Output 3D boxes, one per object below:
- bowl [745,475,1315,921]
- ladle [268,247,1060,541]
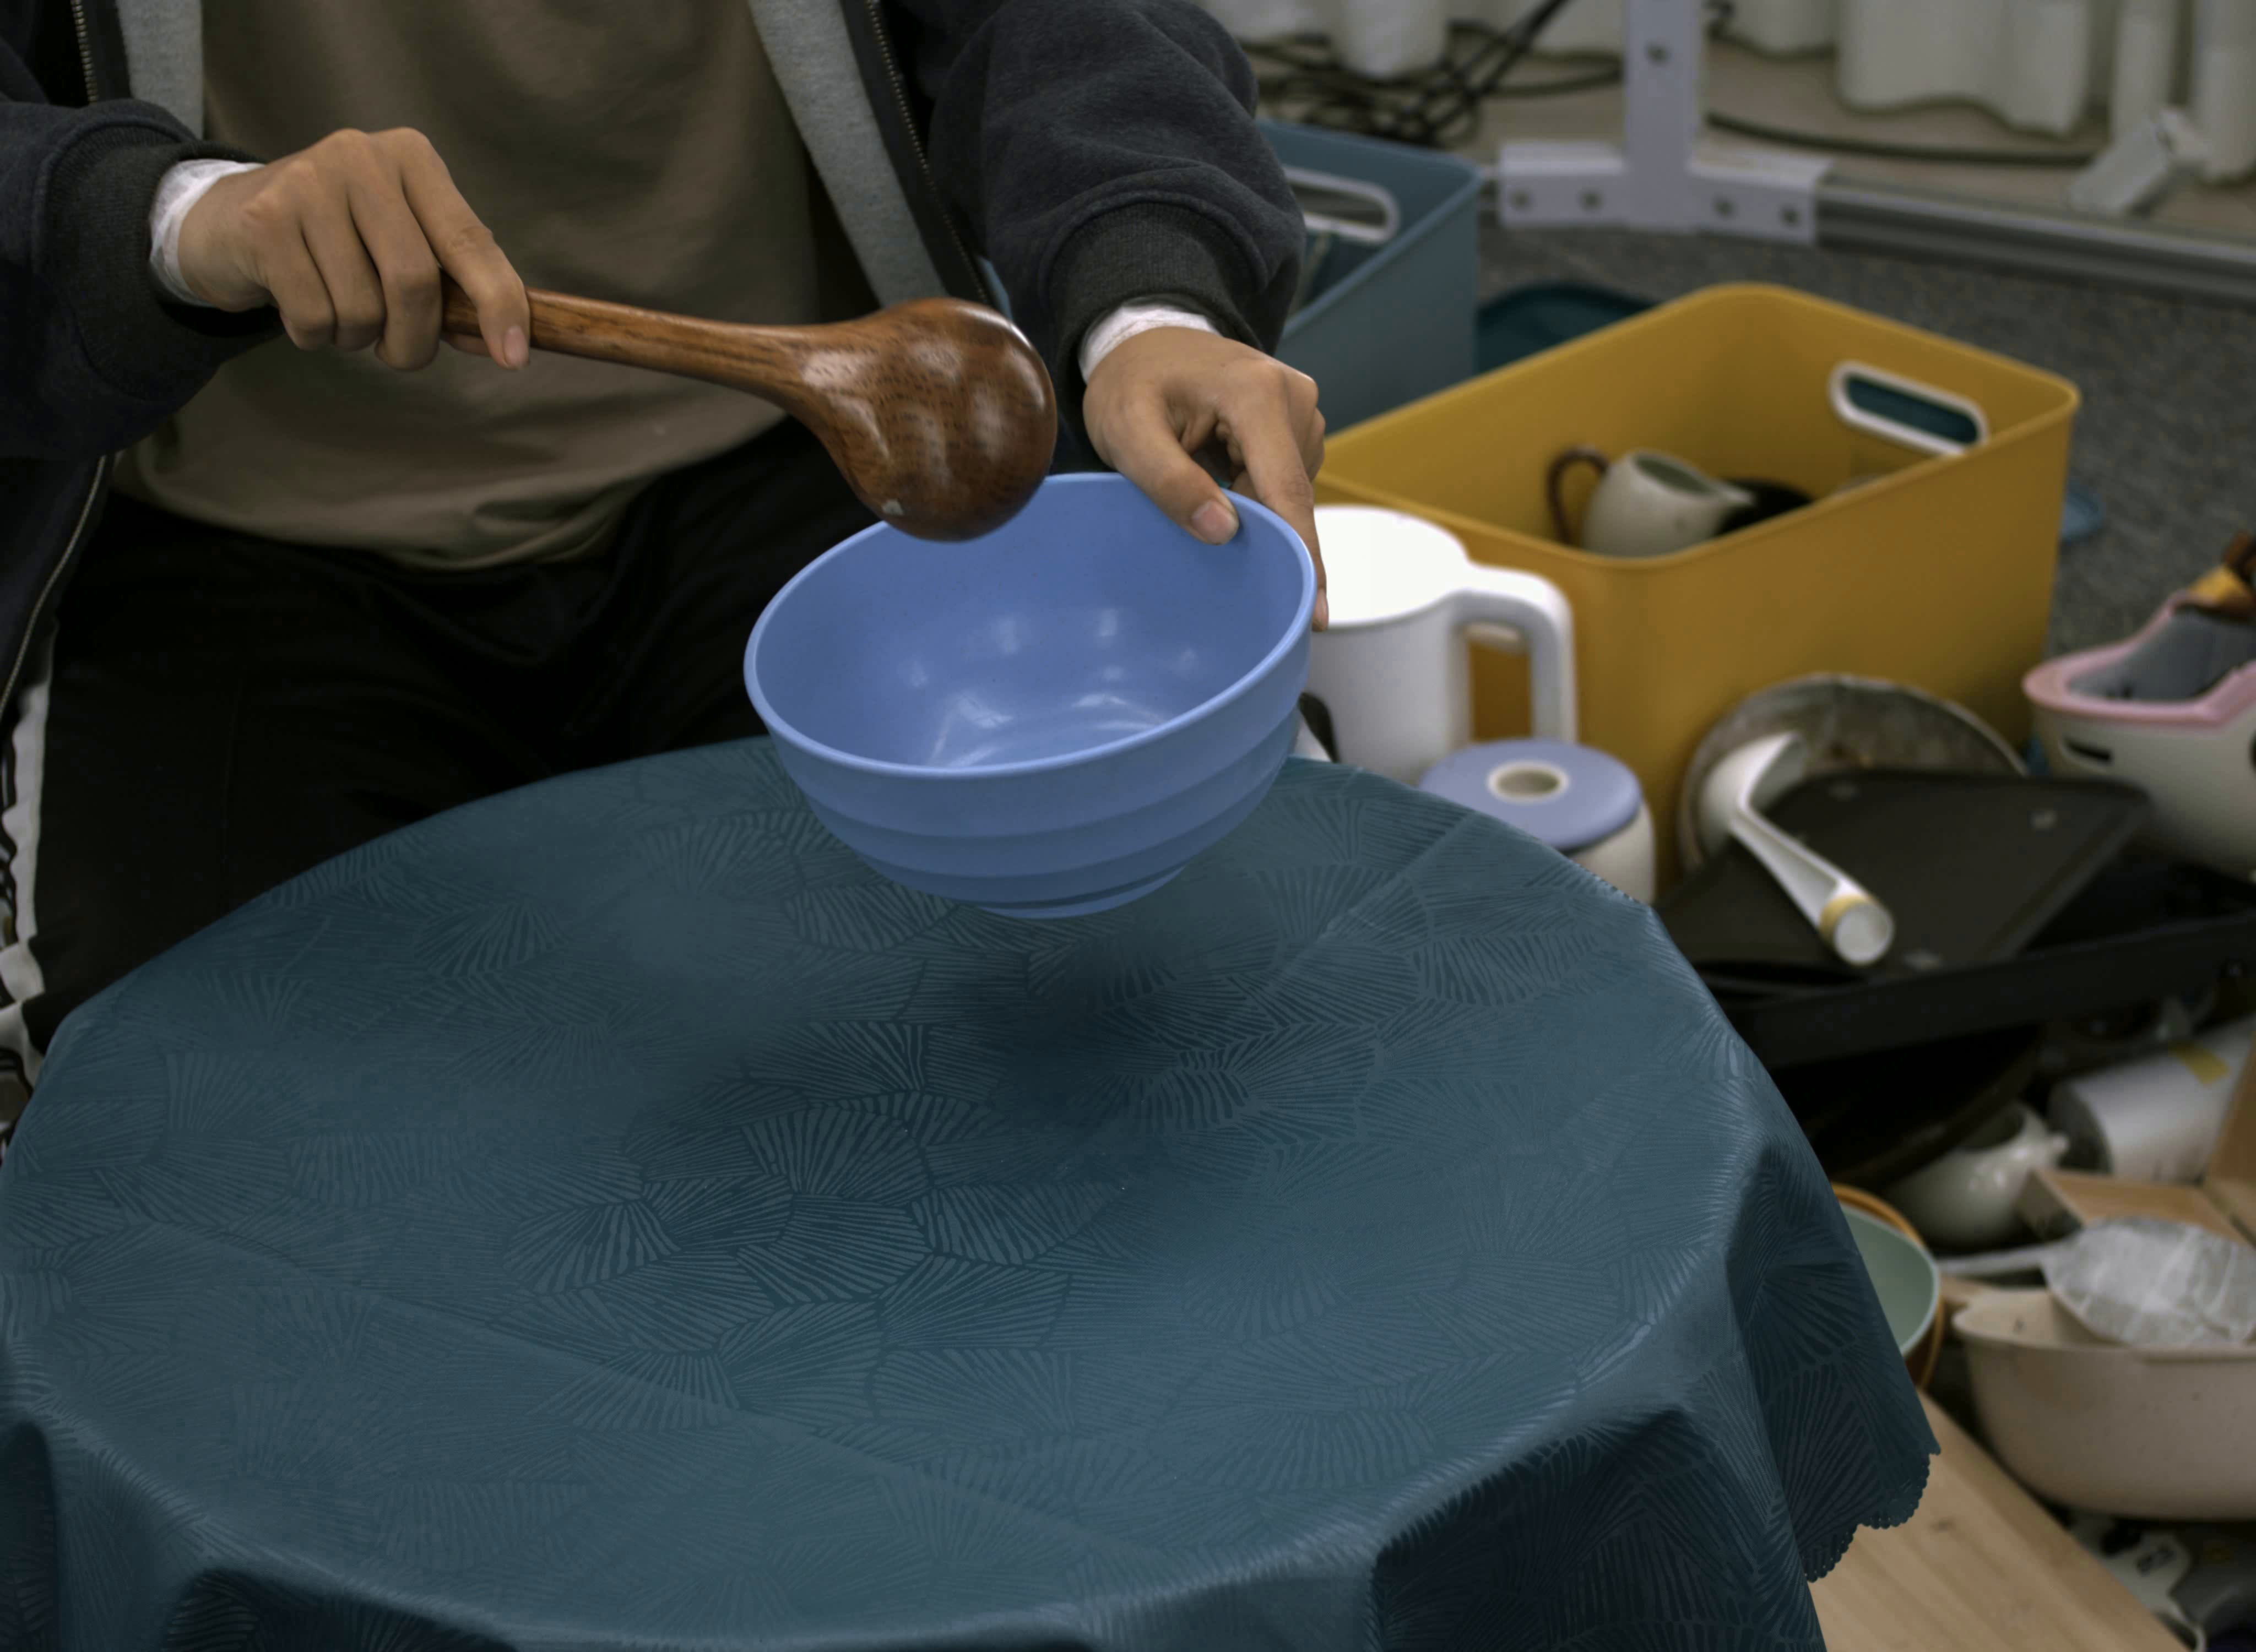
[{"bbox_3d":[-0.026,-0.032,1.917,0.195,0.094,0.200,-8,30,5],"label":"bowl"},{"bbox_3d":[-0.153,-0.155,1.884,0.272,0.083,0.076,11,-15,23],"label":"ladle"}]
